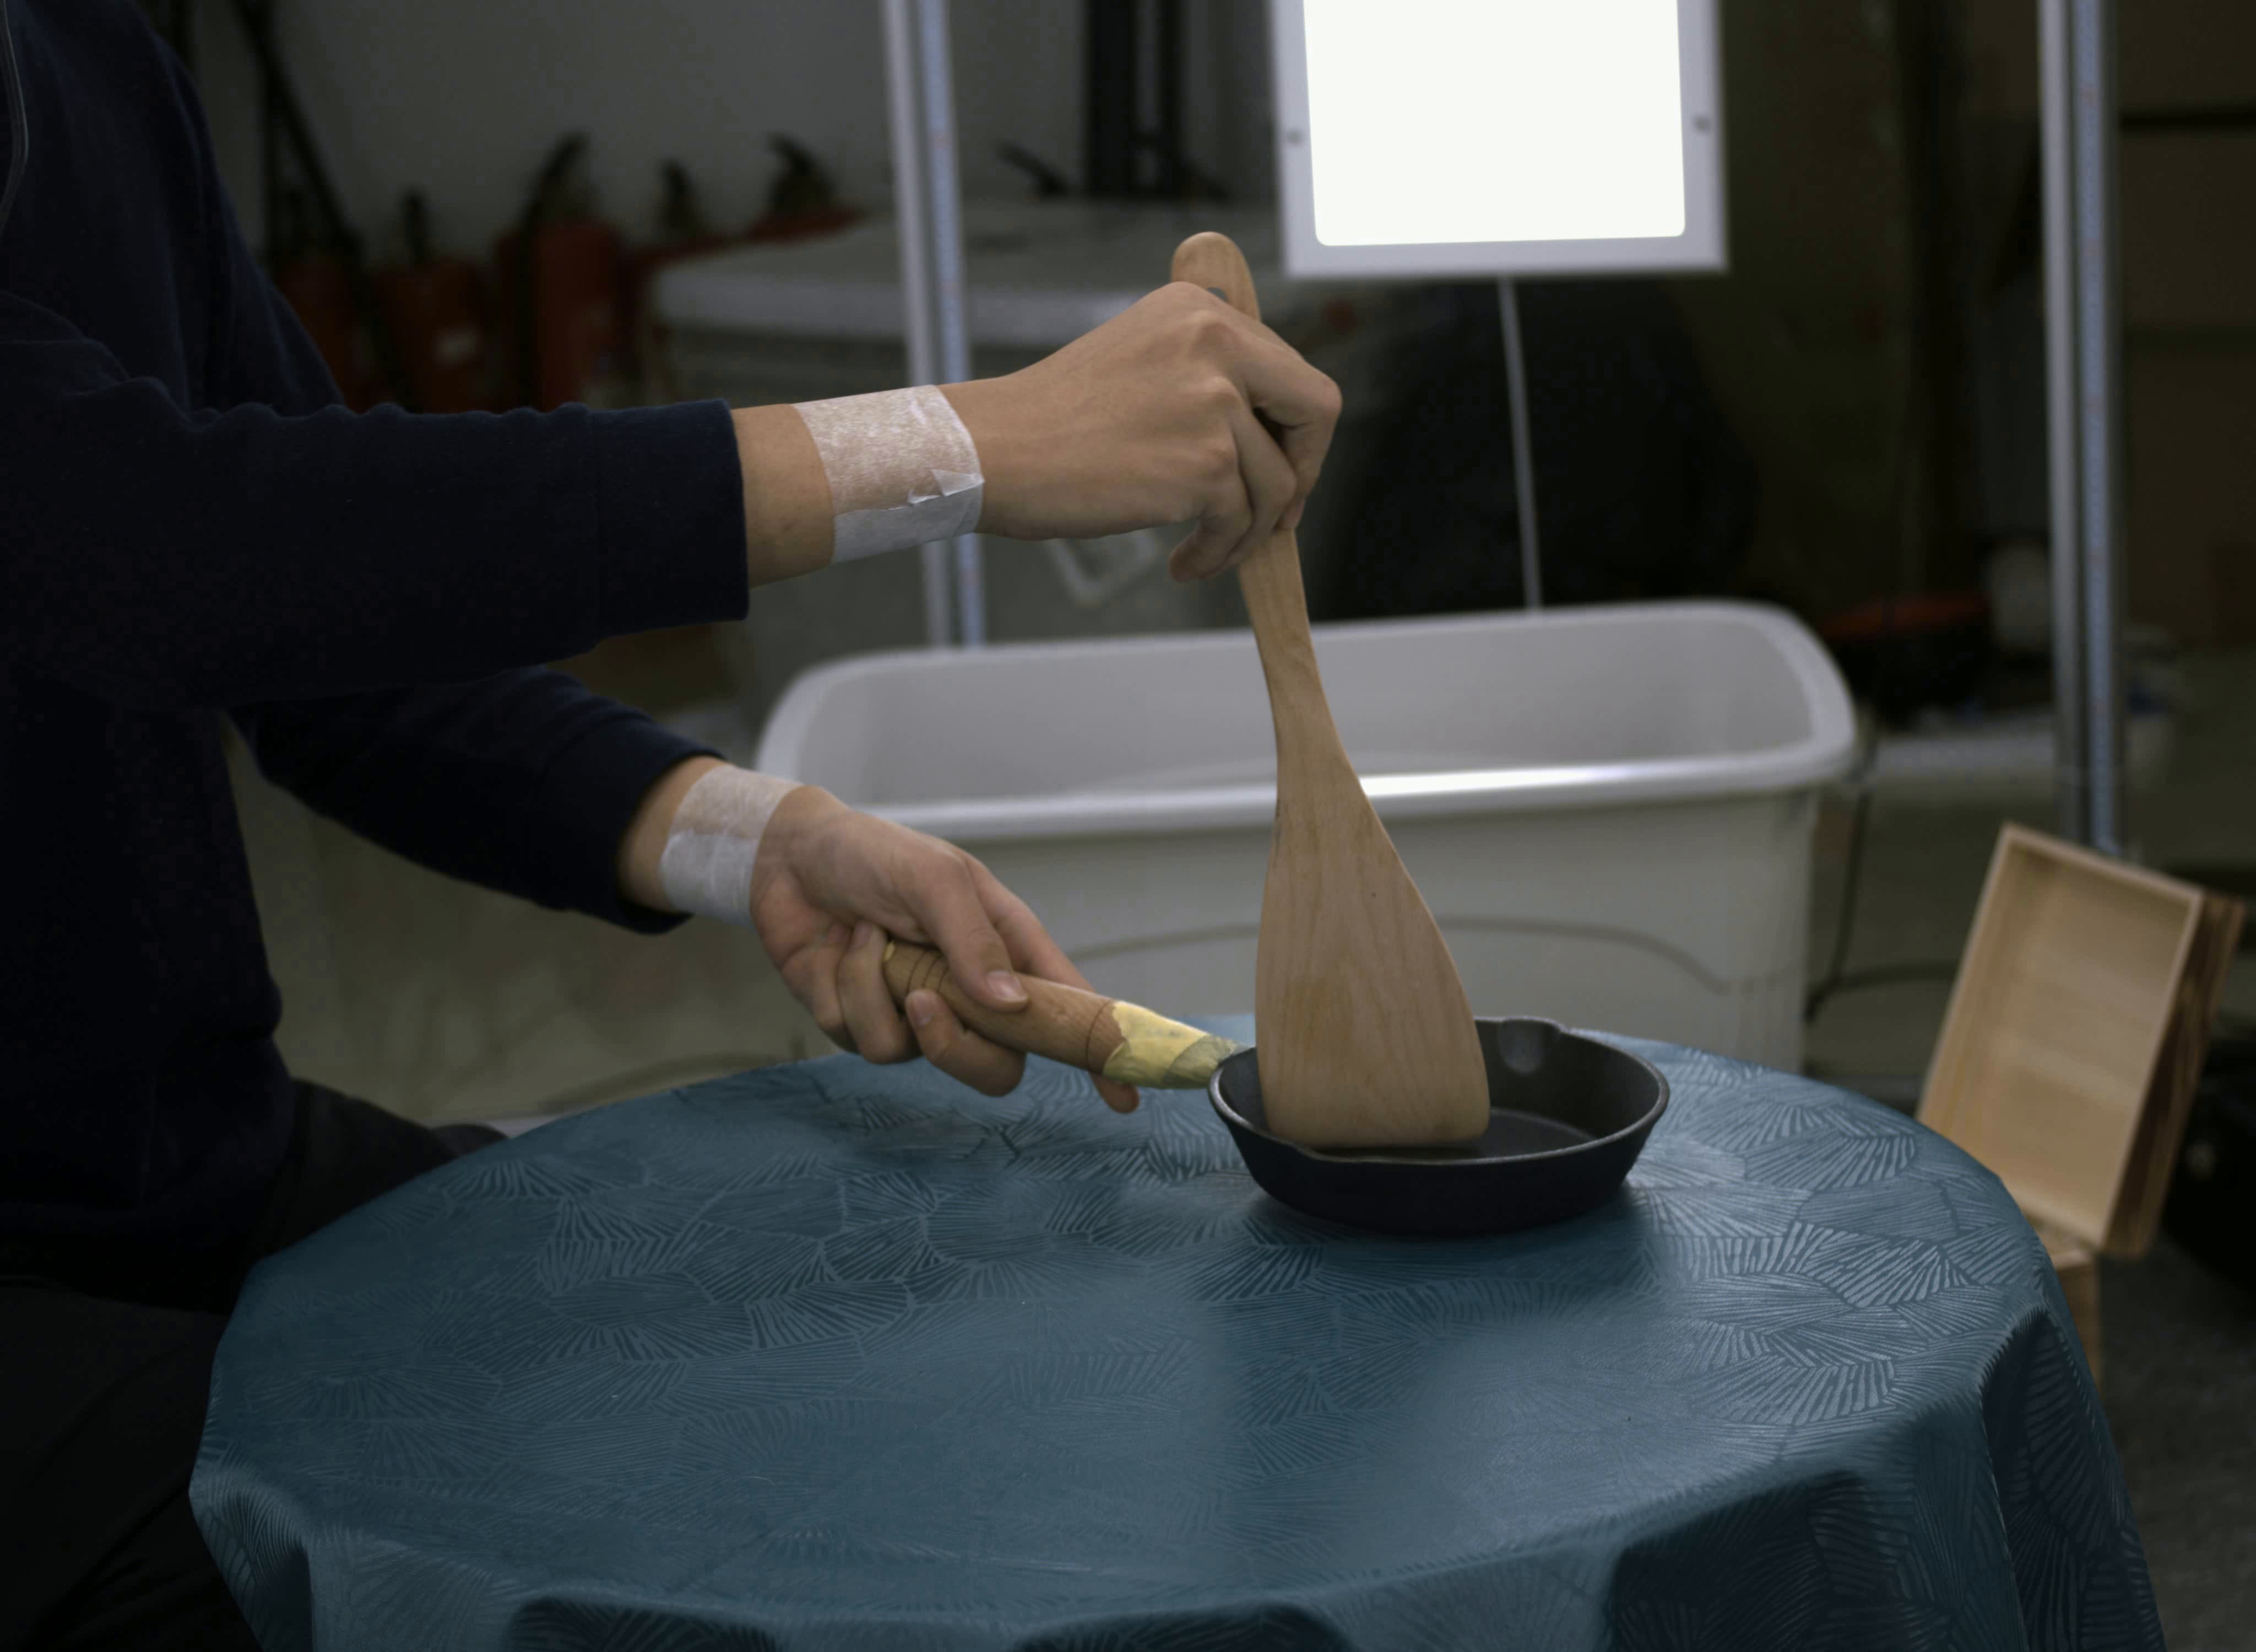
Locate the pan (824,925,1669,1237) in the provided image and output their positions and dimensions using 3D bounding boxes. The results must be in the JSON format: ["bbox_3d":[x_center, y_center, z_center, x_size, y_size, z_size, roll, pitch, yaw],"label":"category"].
[{"bbox_3d":[0.033,0.083,1.911,0.330,0.050,0.165,10,20,31],"label":"pan"}]

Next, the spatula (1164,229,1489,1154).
[{"bbox_3d":[0.055,-0.040,1.858,0.080,0.328,0.016,-12,10,3],"label":"spatula"}]
